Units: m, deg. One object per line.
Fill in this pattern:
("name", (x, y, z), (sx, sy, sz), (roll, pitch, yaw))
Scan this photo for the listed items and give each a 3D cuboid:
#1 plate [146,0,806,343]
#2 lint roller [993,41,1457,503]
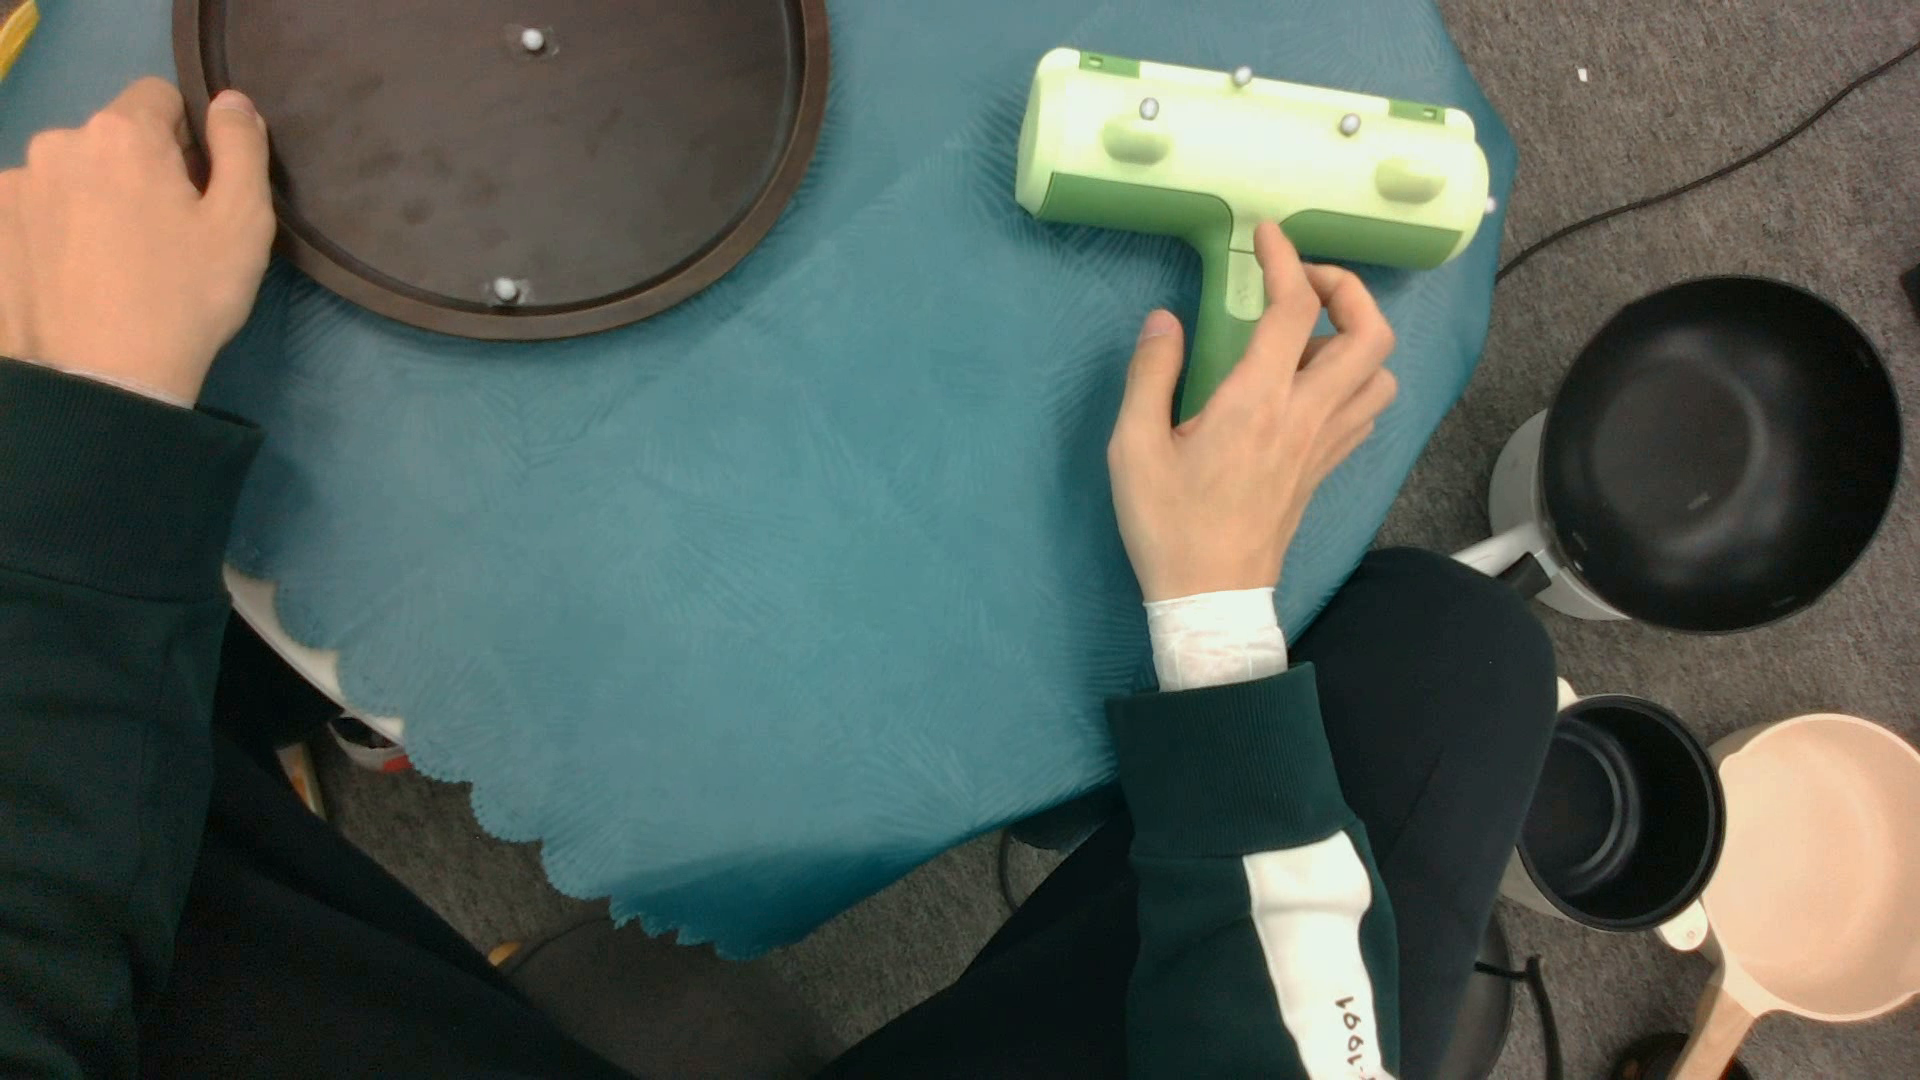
("plate", (-0.190, -0.203, 0.559), (0.255, 0.029, 0.255), (1, 83, -11))
("lint roller", (0.112, -0.111, 0.576), (0.199, 0.082, 0.183), (5, 79, -10))
